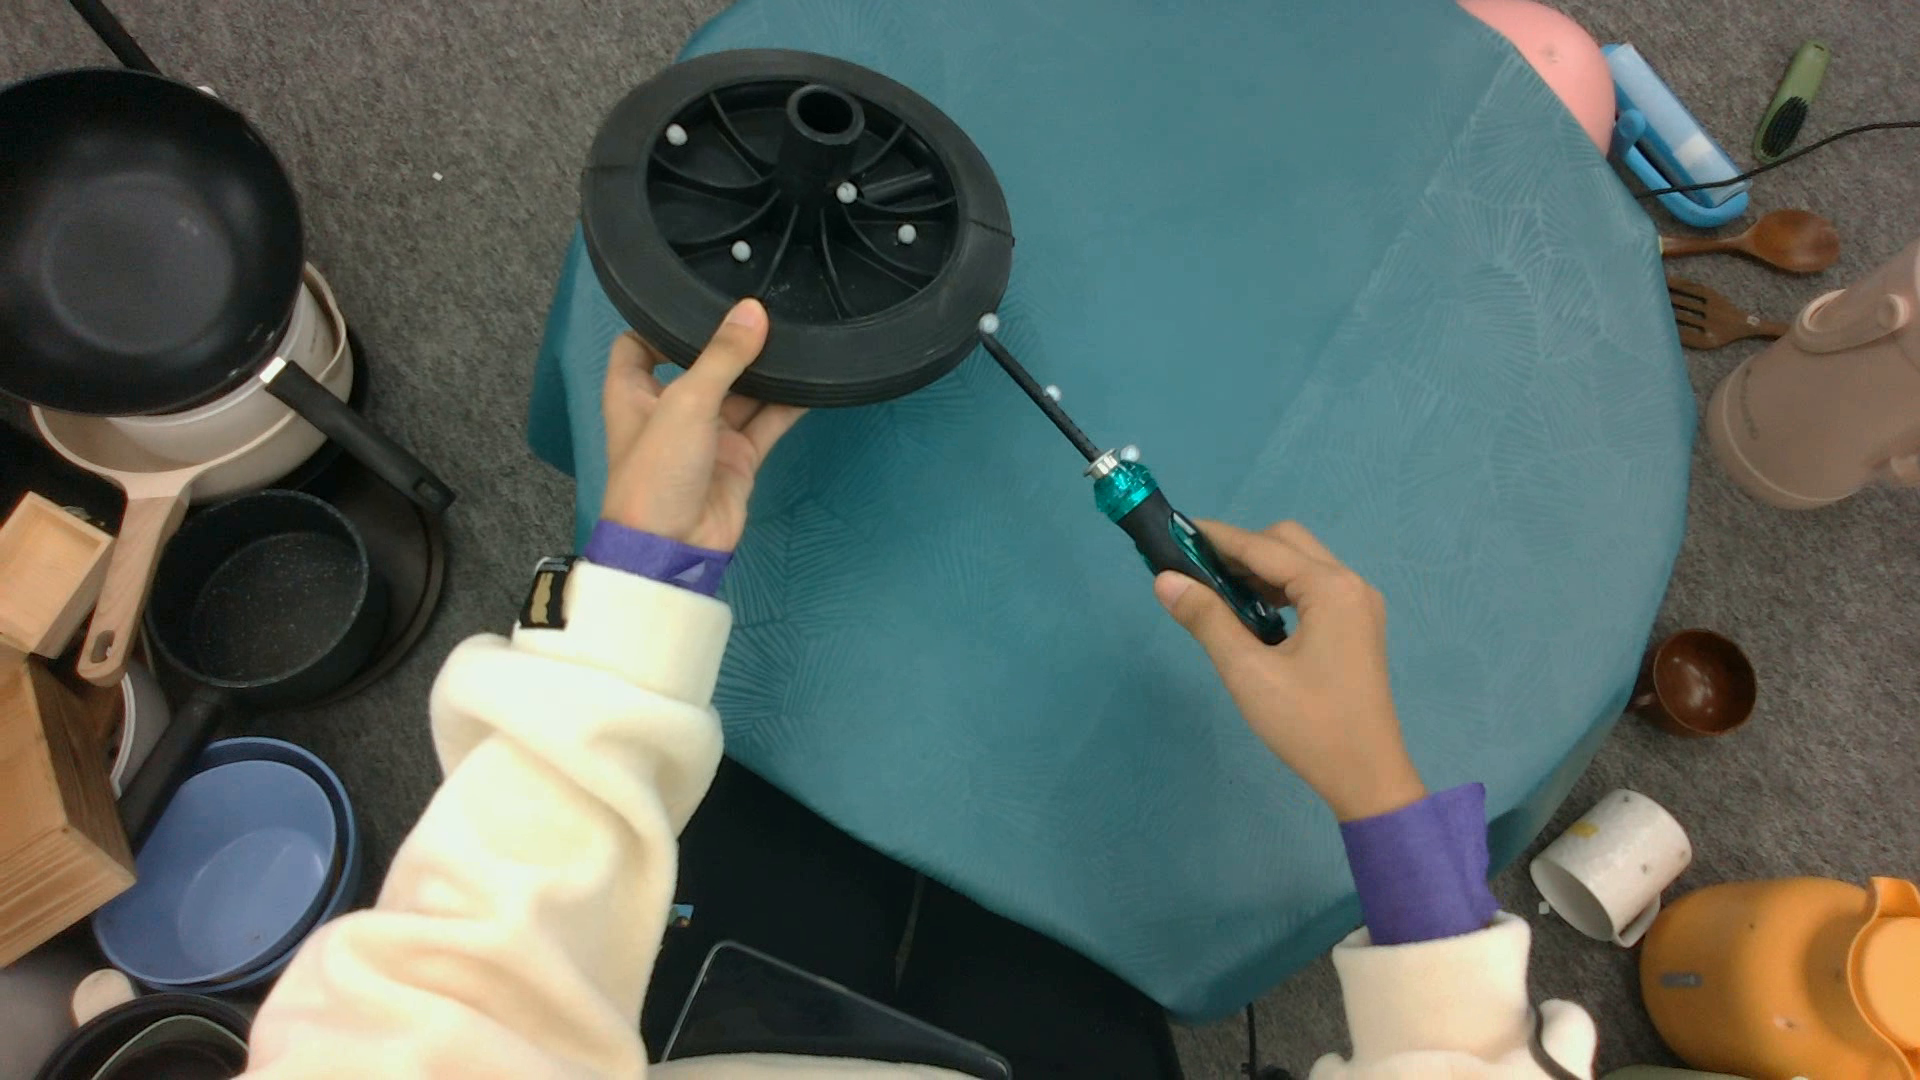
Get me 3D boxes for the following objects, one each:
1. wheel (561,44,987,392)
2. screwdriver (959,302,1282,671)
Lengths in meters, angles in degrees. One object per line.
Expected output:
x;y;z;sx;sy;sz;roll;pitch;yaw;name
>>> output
-0.073;-0.157;0.591;0.187;0.079;0.191;36;56;5;wheel
0.061;-0.025;0.563;0.034;0.033;0.190;-39;84;-15;screwdriver
